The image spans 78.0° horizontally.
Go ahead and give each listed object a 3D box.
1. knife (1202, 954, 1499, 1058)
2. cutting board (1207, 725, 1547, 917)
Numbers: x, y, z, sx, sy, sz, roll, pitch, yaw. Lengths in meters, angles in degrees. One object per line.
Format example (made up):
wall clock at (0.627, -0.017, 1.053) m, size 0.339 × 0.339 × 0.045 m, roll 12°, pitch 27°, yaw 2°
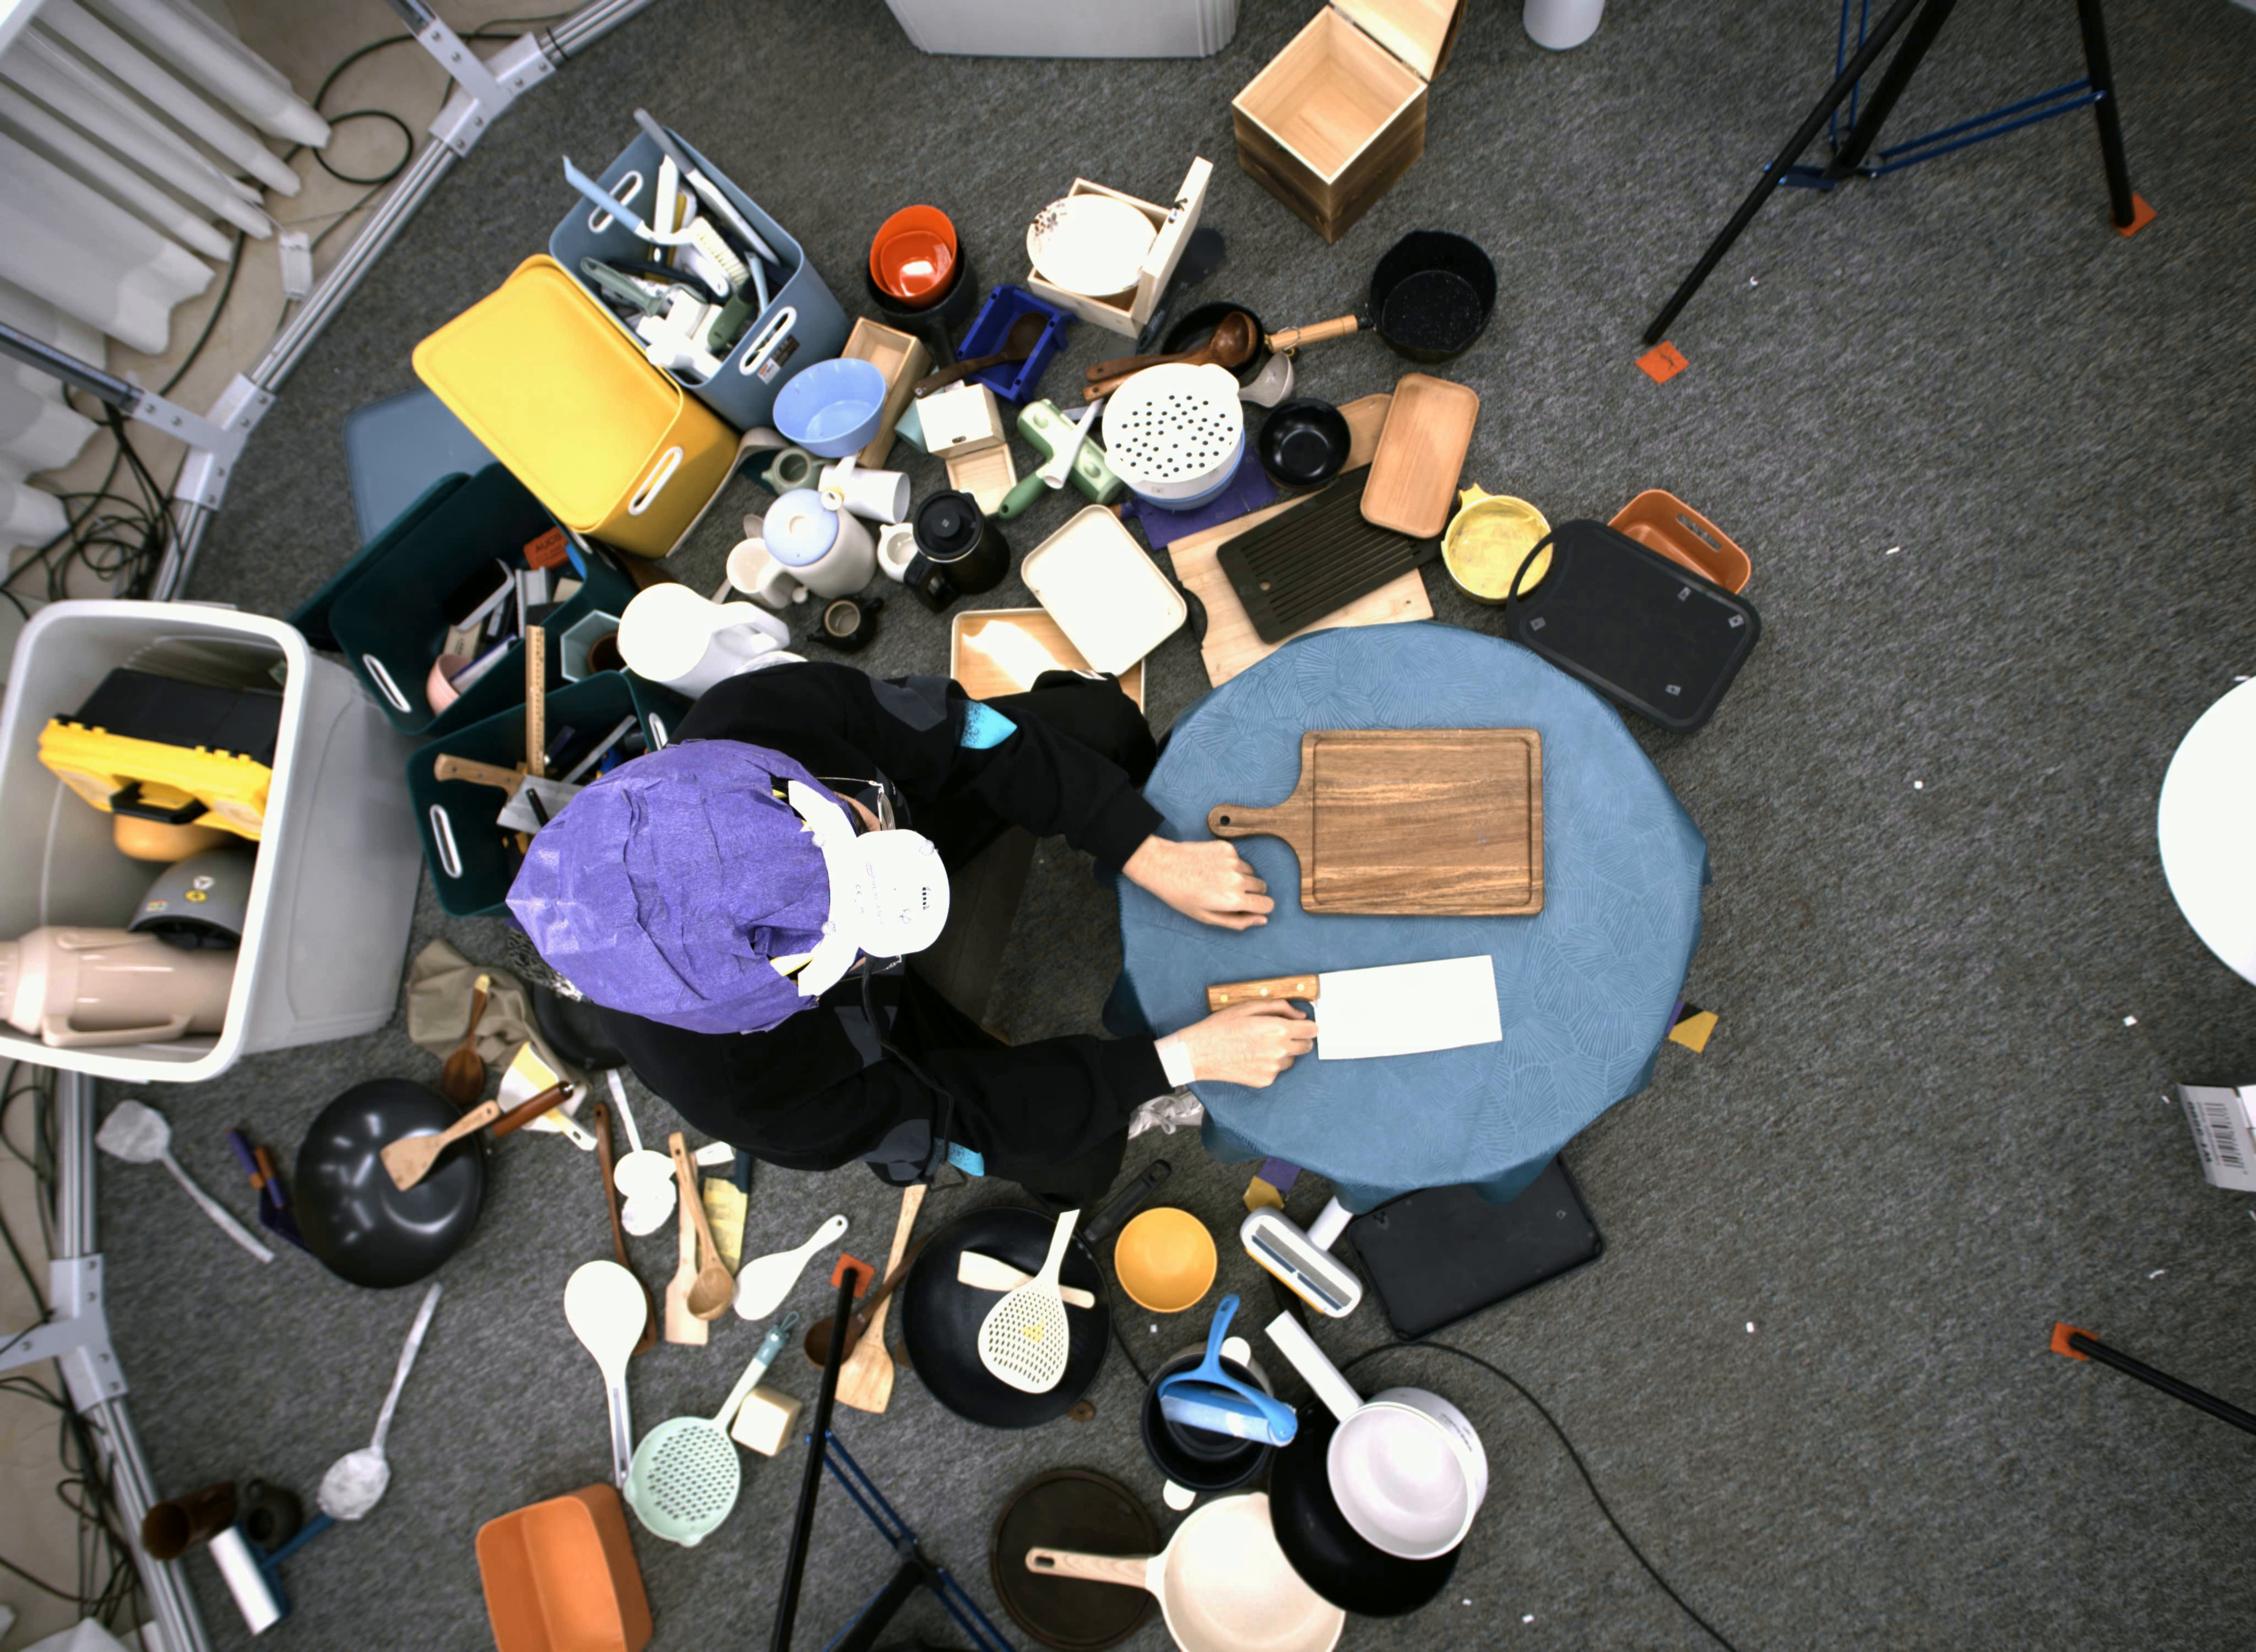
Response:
knife at (0.233, 0.193, 1.452) m, size 0.307 × 0.021 × 0.092 m, roll -7°, pitch 87°, yaw 8°
cutting board at (0.259, -0.006, 1.456) m, size 0.353 × 0.023 × 0.200 m, roll -1°, pitch 87°, yaw 11°
